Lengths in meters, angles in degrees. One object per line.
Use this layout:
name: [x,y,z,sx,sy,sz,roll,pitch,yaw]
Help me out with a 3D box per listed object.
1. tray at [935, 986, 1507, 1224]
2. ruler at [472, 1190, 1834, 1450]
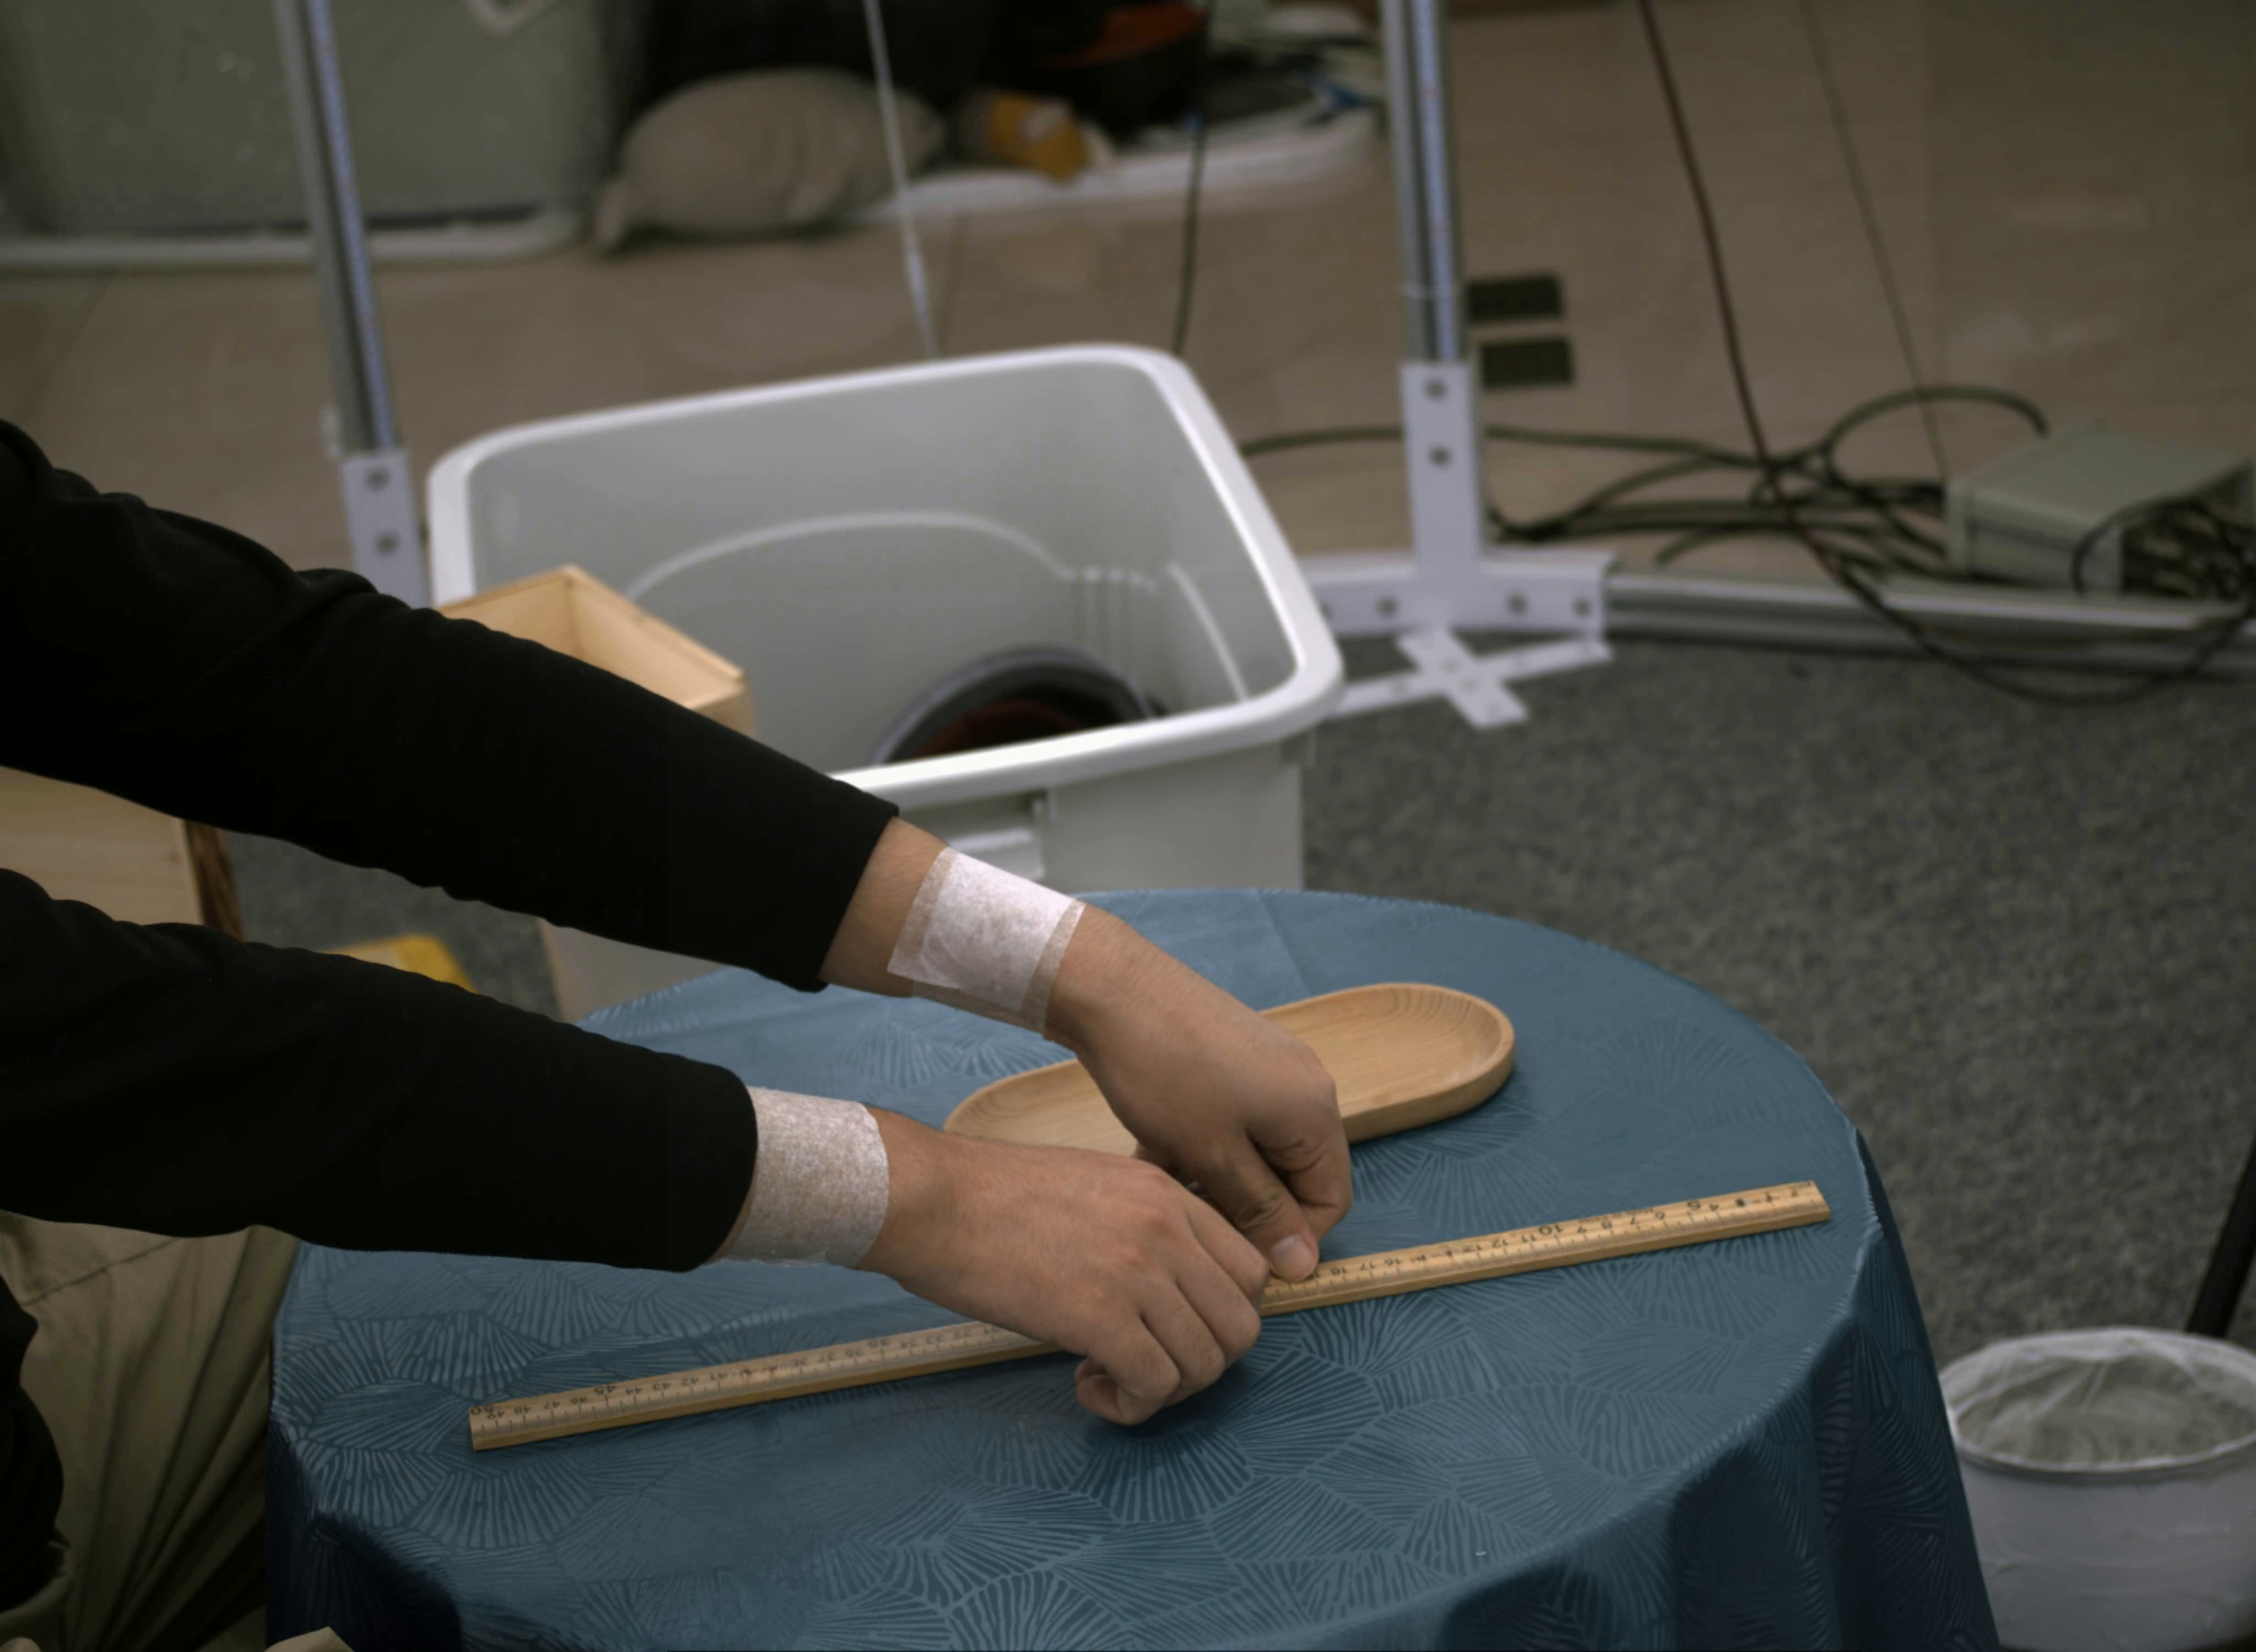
tray: [0.037,0.107,2.187,0.230,0.020,0.100,-16,25,-16]
ruler: [0.010,0.177,2.059,0.499,0.006,0.026,-9,20,-5]
